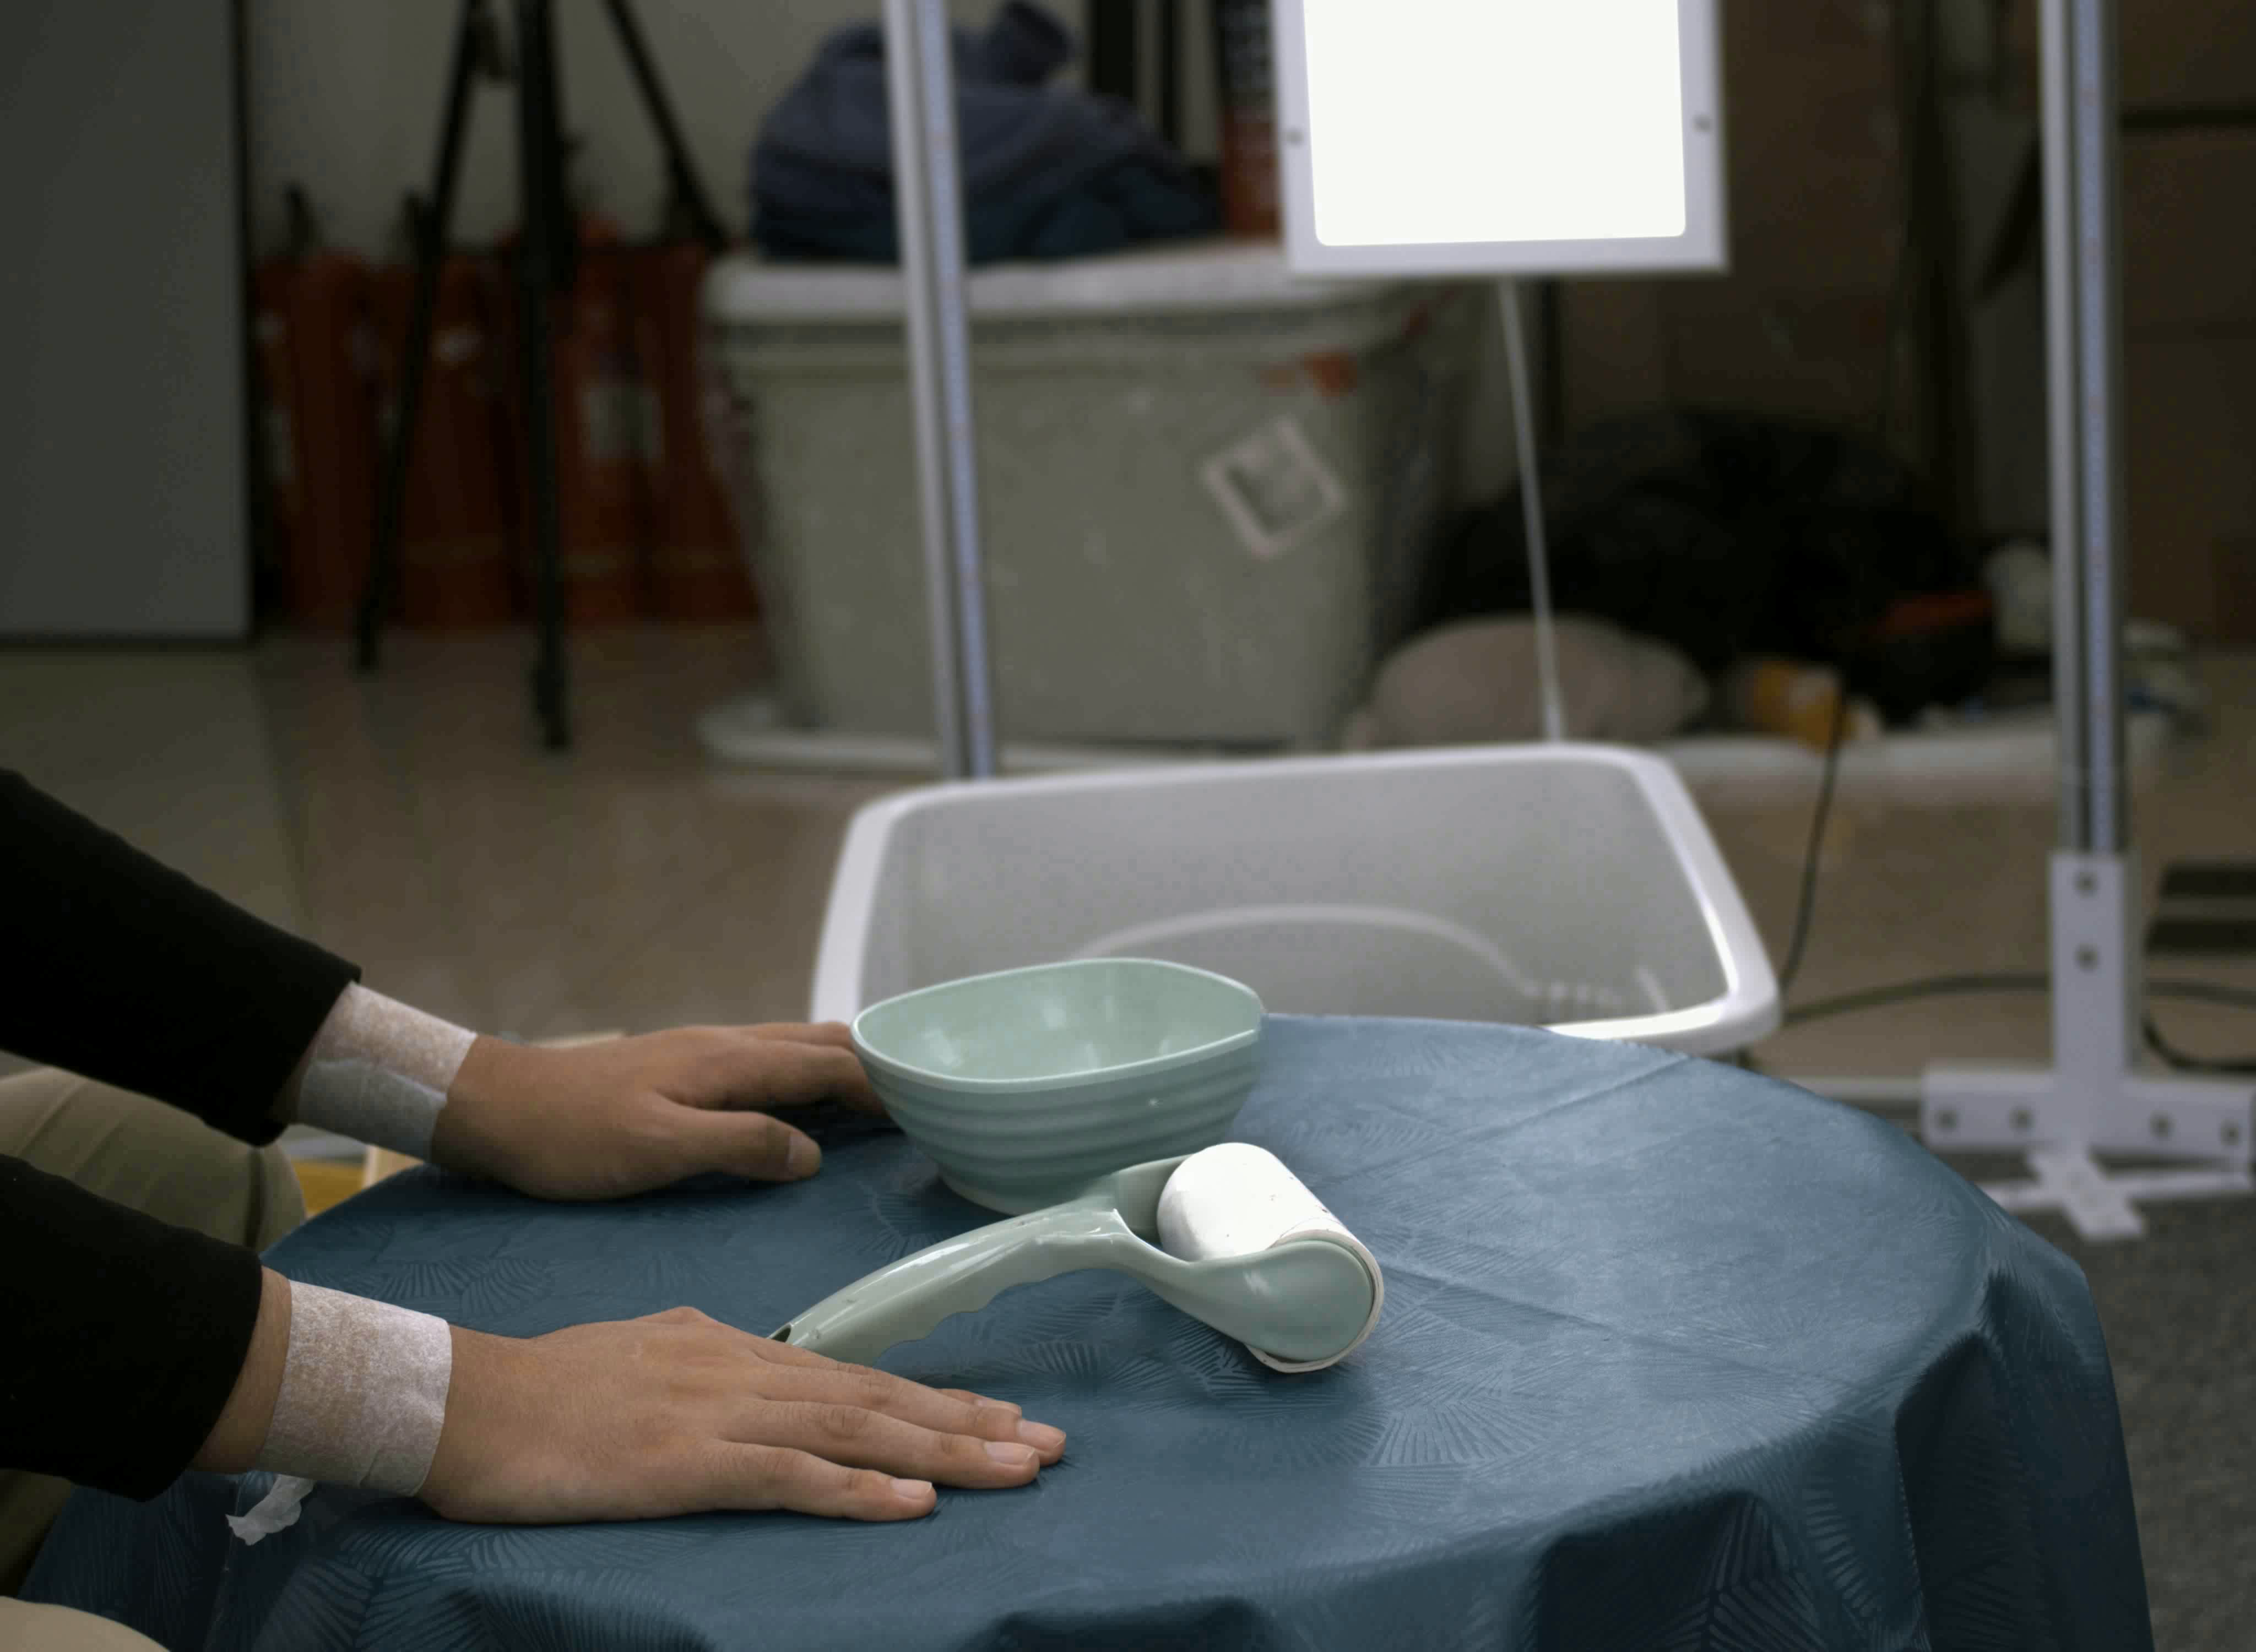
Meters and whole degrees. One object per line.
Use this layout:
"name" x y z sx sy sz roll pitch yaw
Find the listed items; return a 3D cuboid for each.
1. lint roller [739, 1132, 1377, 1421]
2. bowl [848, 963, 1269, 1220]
"lint roller" -0.029 0.145 1.739 0.195 0.048 0.117 -9 15 -11
"bowl" -0.023 0.095 1.918 0.151 0.059 0.151 -4 14 0
